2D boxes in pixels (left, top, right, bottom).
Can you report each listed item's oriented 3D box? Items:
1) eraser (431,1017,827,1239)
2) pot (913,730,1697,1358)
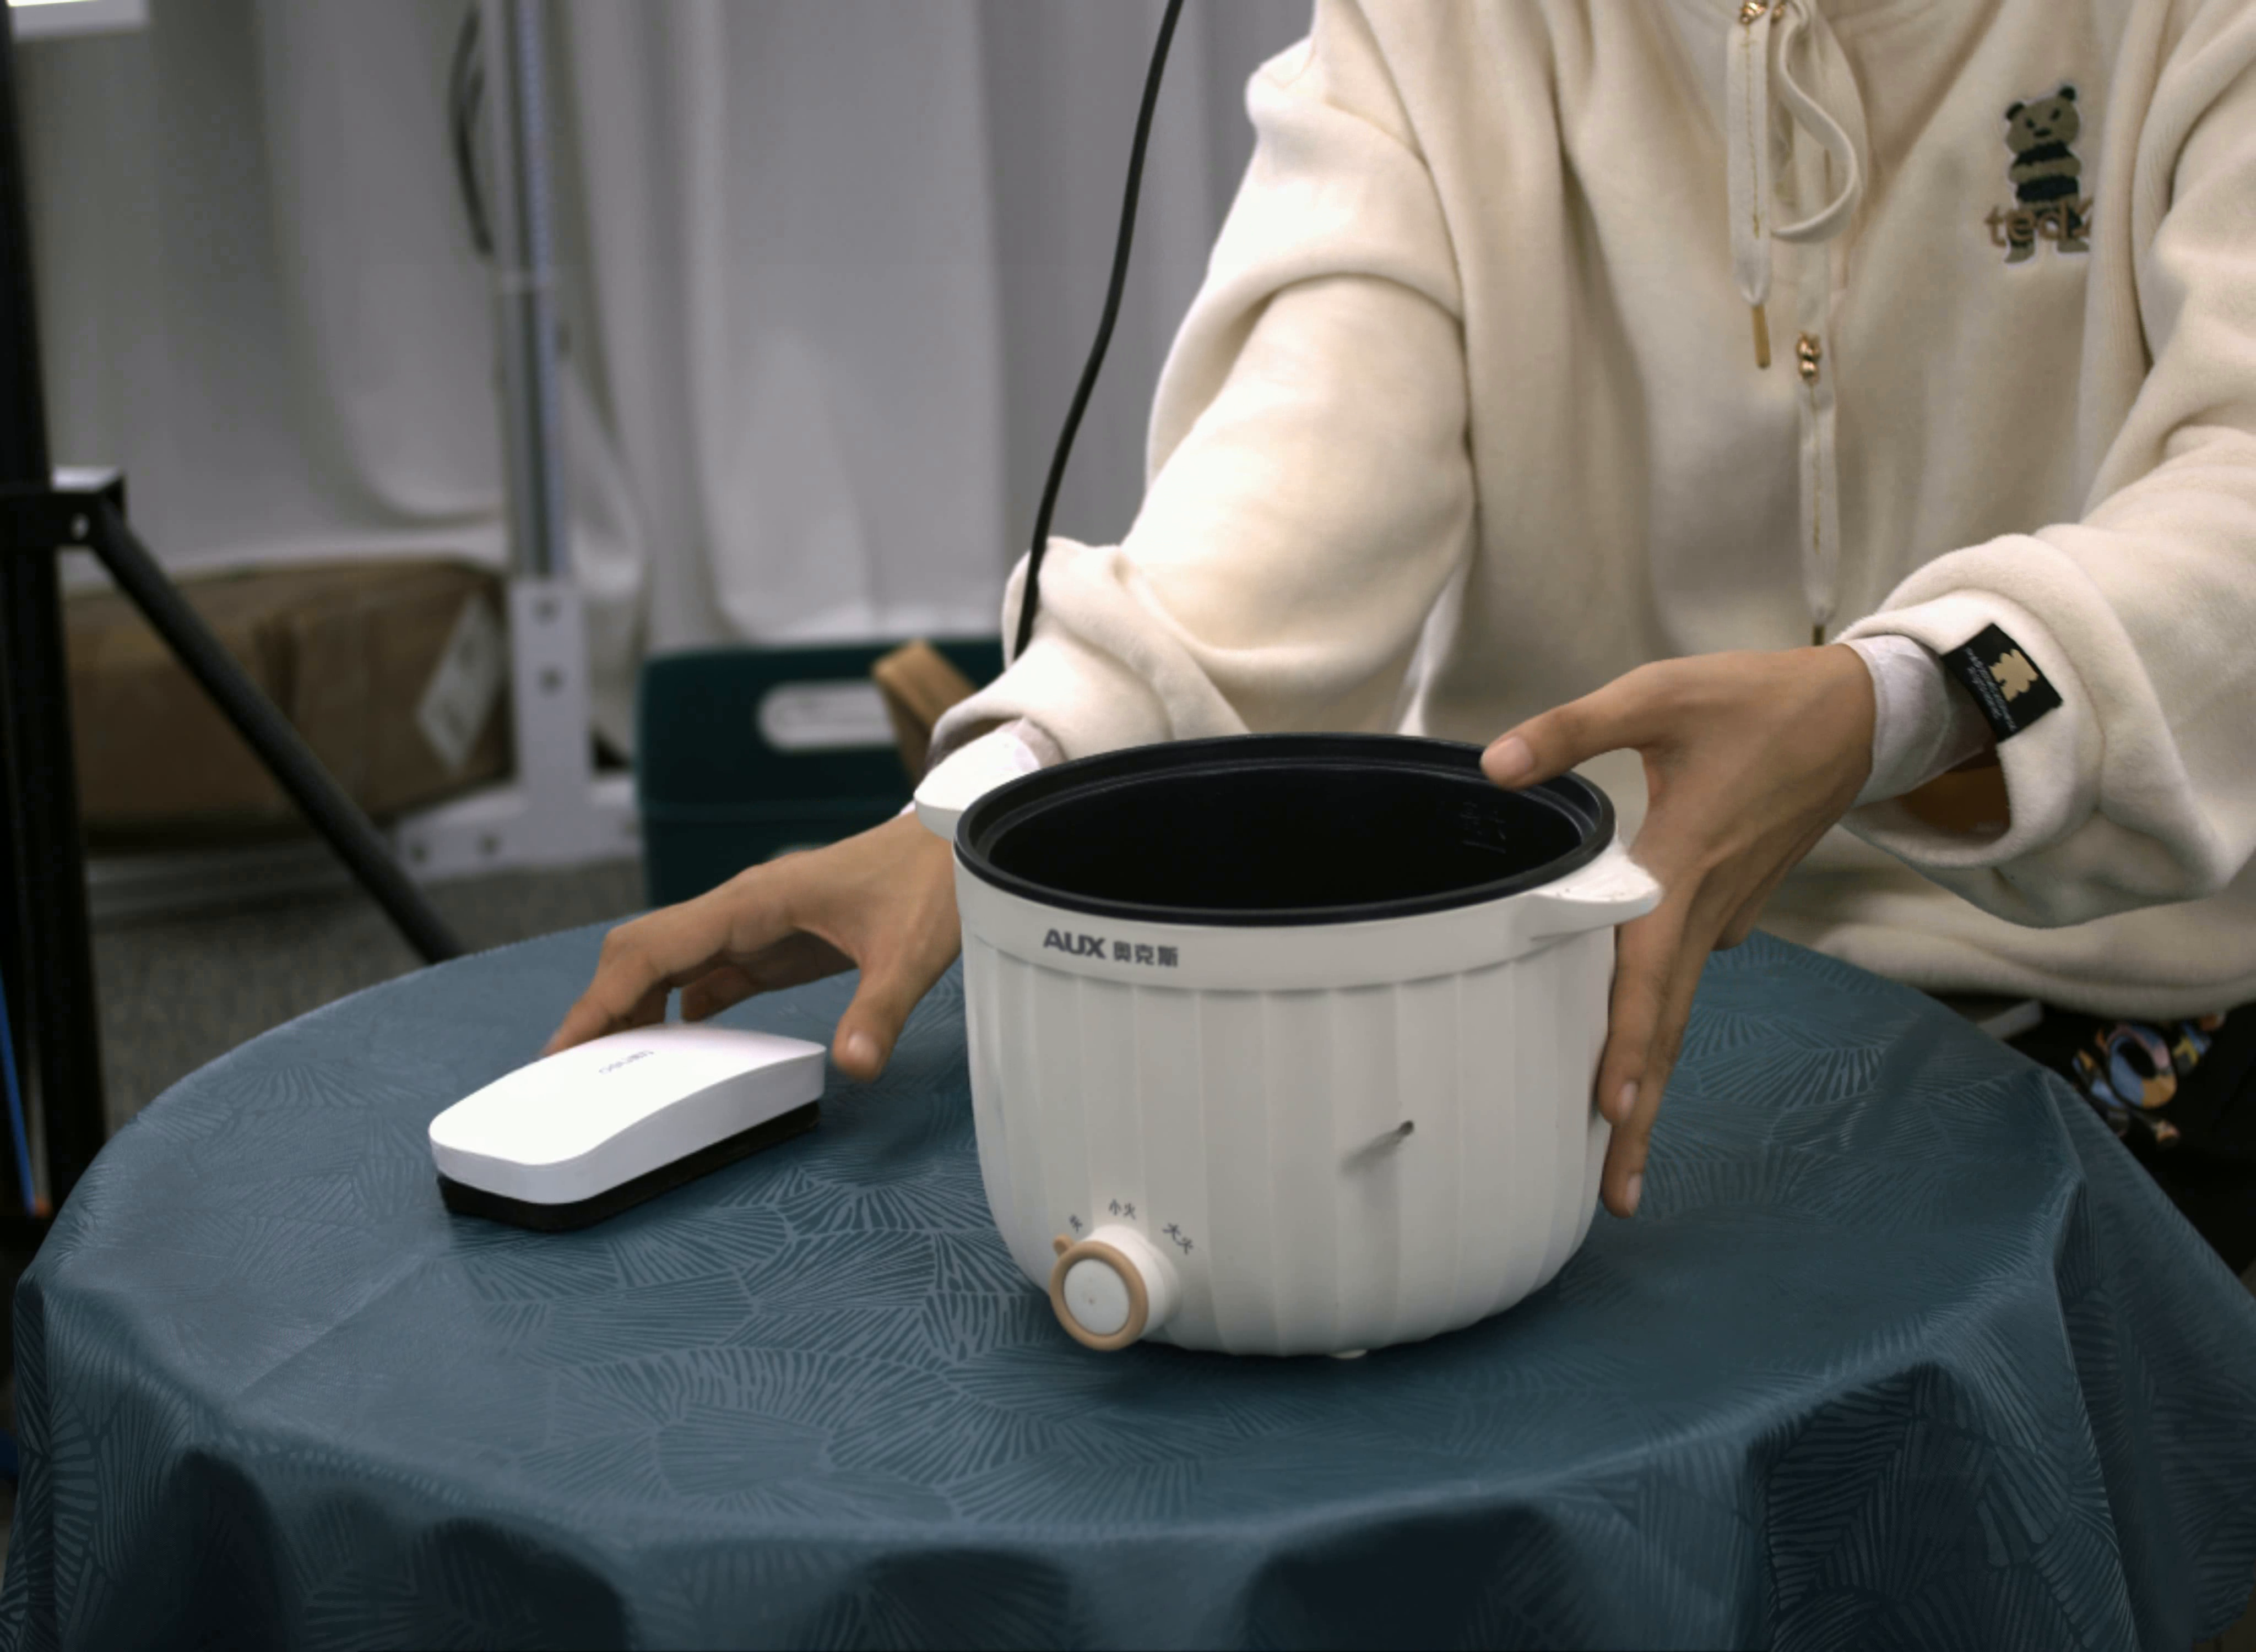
[{"bbox_3d":[-0.147,0.087,1.601,0.065,0.034,0.128,11,21,36],"label":"eraser"},{"bbox_3d":[0.044,0.062,1.455,0.245,0.143,0.186,7,15,33],"label":"pot"}]
